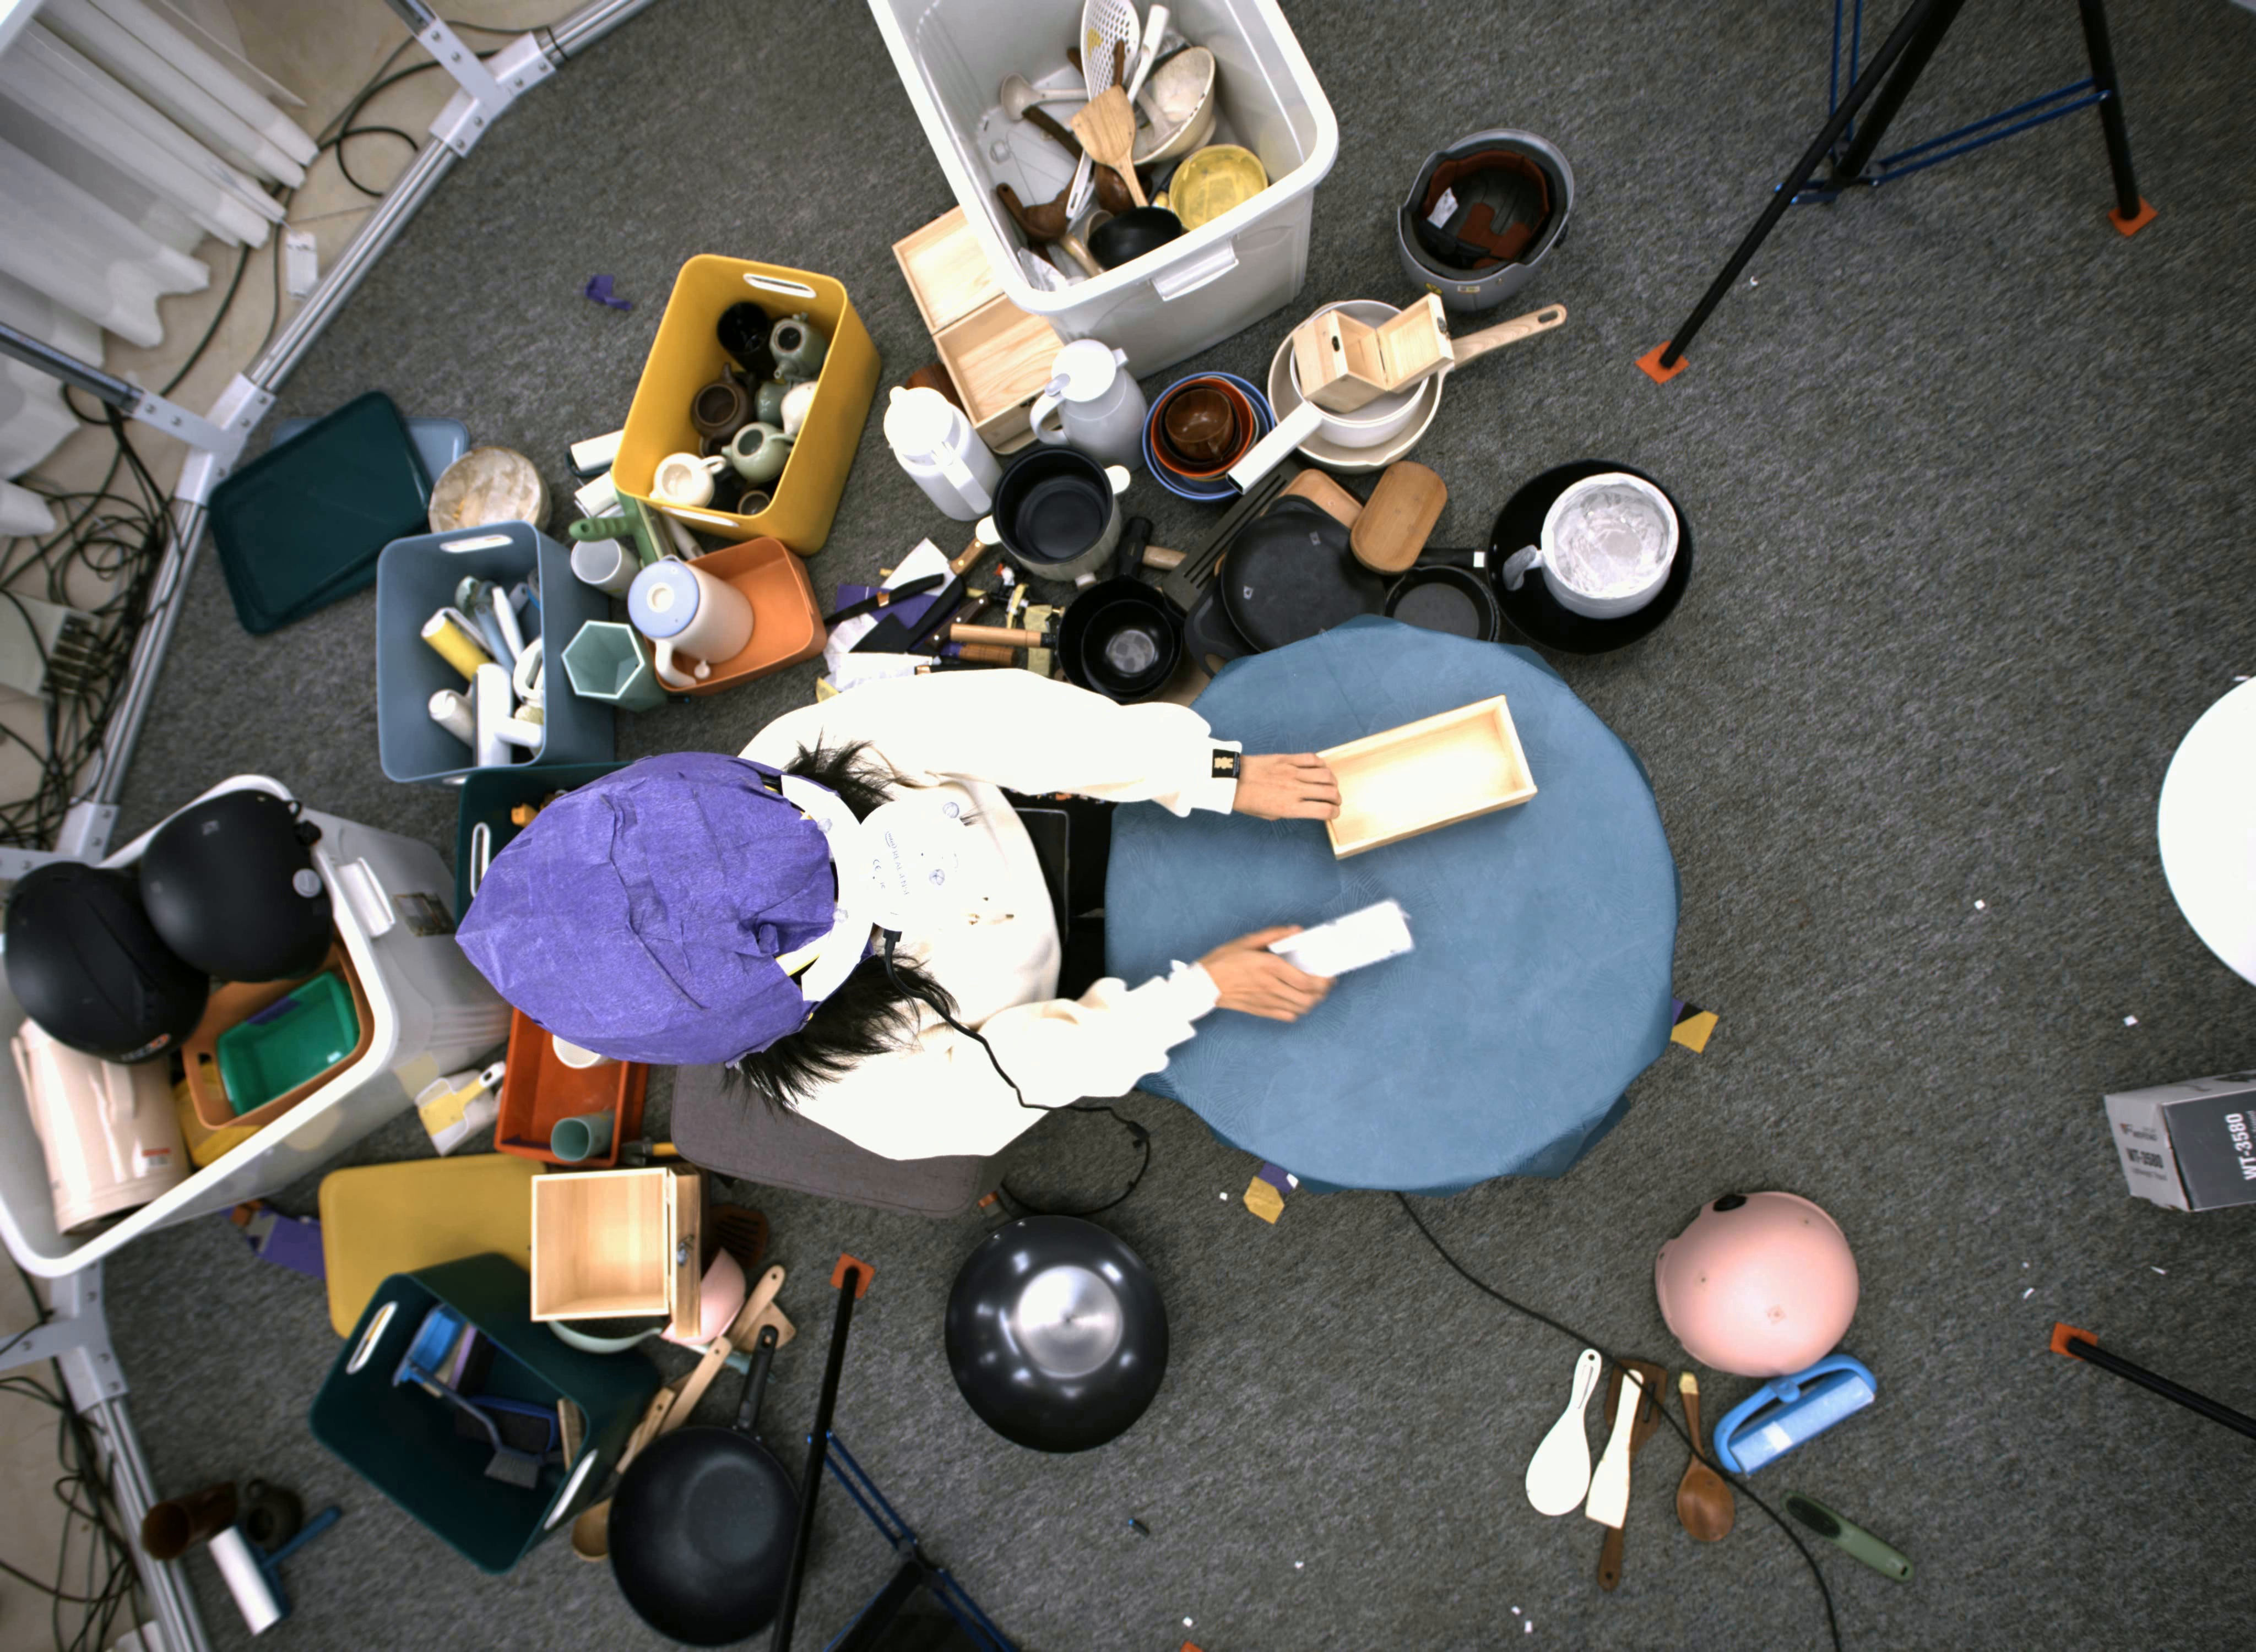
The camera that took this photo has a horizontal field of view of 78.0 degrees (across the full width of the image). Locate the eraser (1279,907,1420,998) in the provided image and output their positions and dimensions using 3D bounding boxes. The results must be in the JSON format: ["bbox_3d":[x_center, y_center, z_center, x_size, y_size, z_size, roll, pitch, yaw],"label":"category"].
[{"bbox_3d":[0.226,0.127,1.409,0.136,0.046,0.049,-23,87,19],"label":"eraser"}]

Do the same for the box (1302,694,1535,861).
[{"bbox_3d":[0.297,-0.049,1.421,0.212,0.080,0.107,-18,83,7],"label":"box"}]
